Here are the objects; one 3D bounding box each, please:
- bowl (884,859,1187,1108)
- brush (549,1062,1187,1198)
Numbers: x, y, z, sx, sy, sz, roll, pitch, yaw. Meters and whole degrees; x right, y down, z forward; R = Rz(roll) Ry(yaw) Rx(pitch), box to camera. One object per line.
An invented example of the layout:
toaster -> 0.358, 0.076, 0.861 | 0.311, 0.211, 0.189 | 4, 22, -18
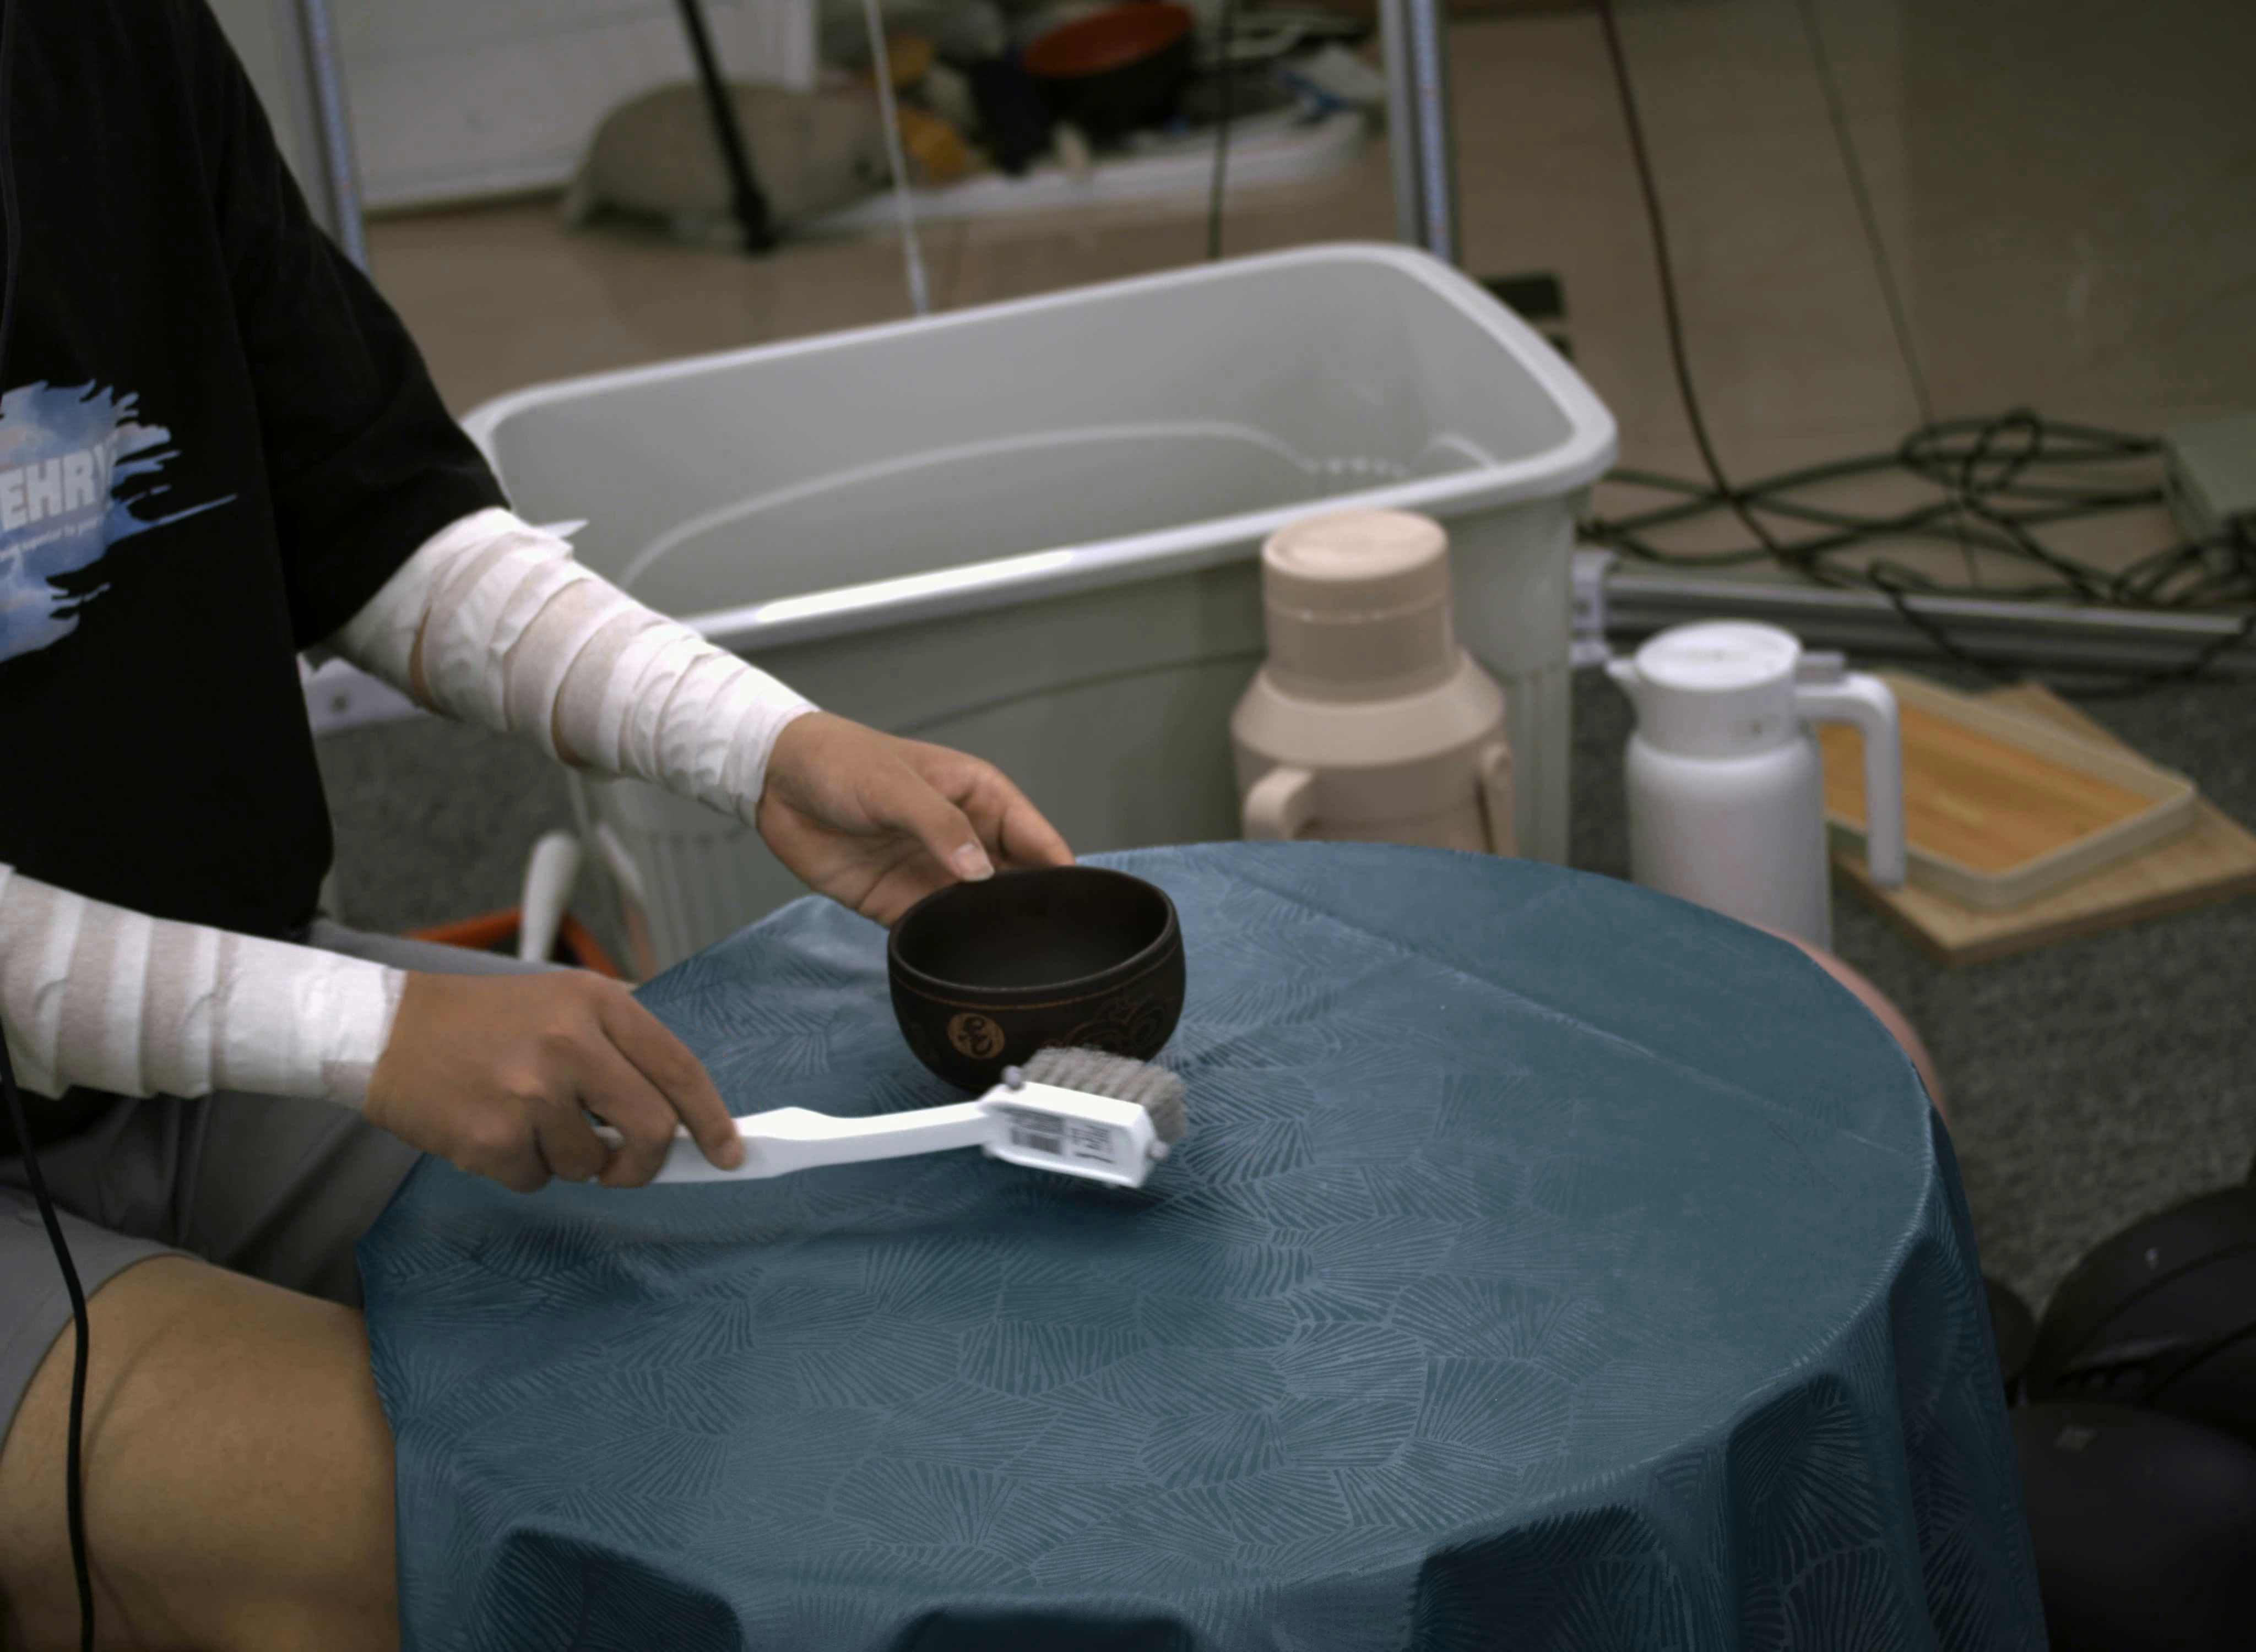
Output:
bowl -> -0.034, 0.068, 2.222 | 0.118, 0.071, 0.116 | -7, 25, 4
brush -> -0.098, 0.114, 2.143 | 0.243, 0.035, 0.049 | -1, 34, 13
